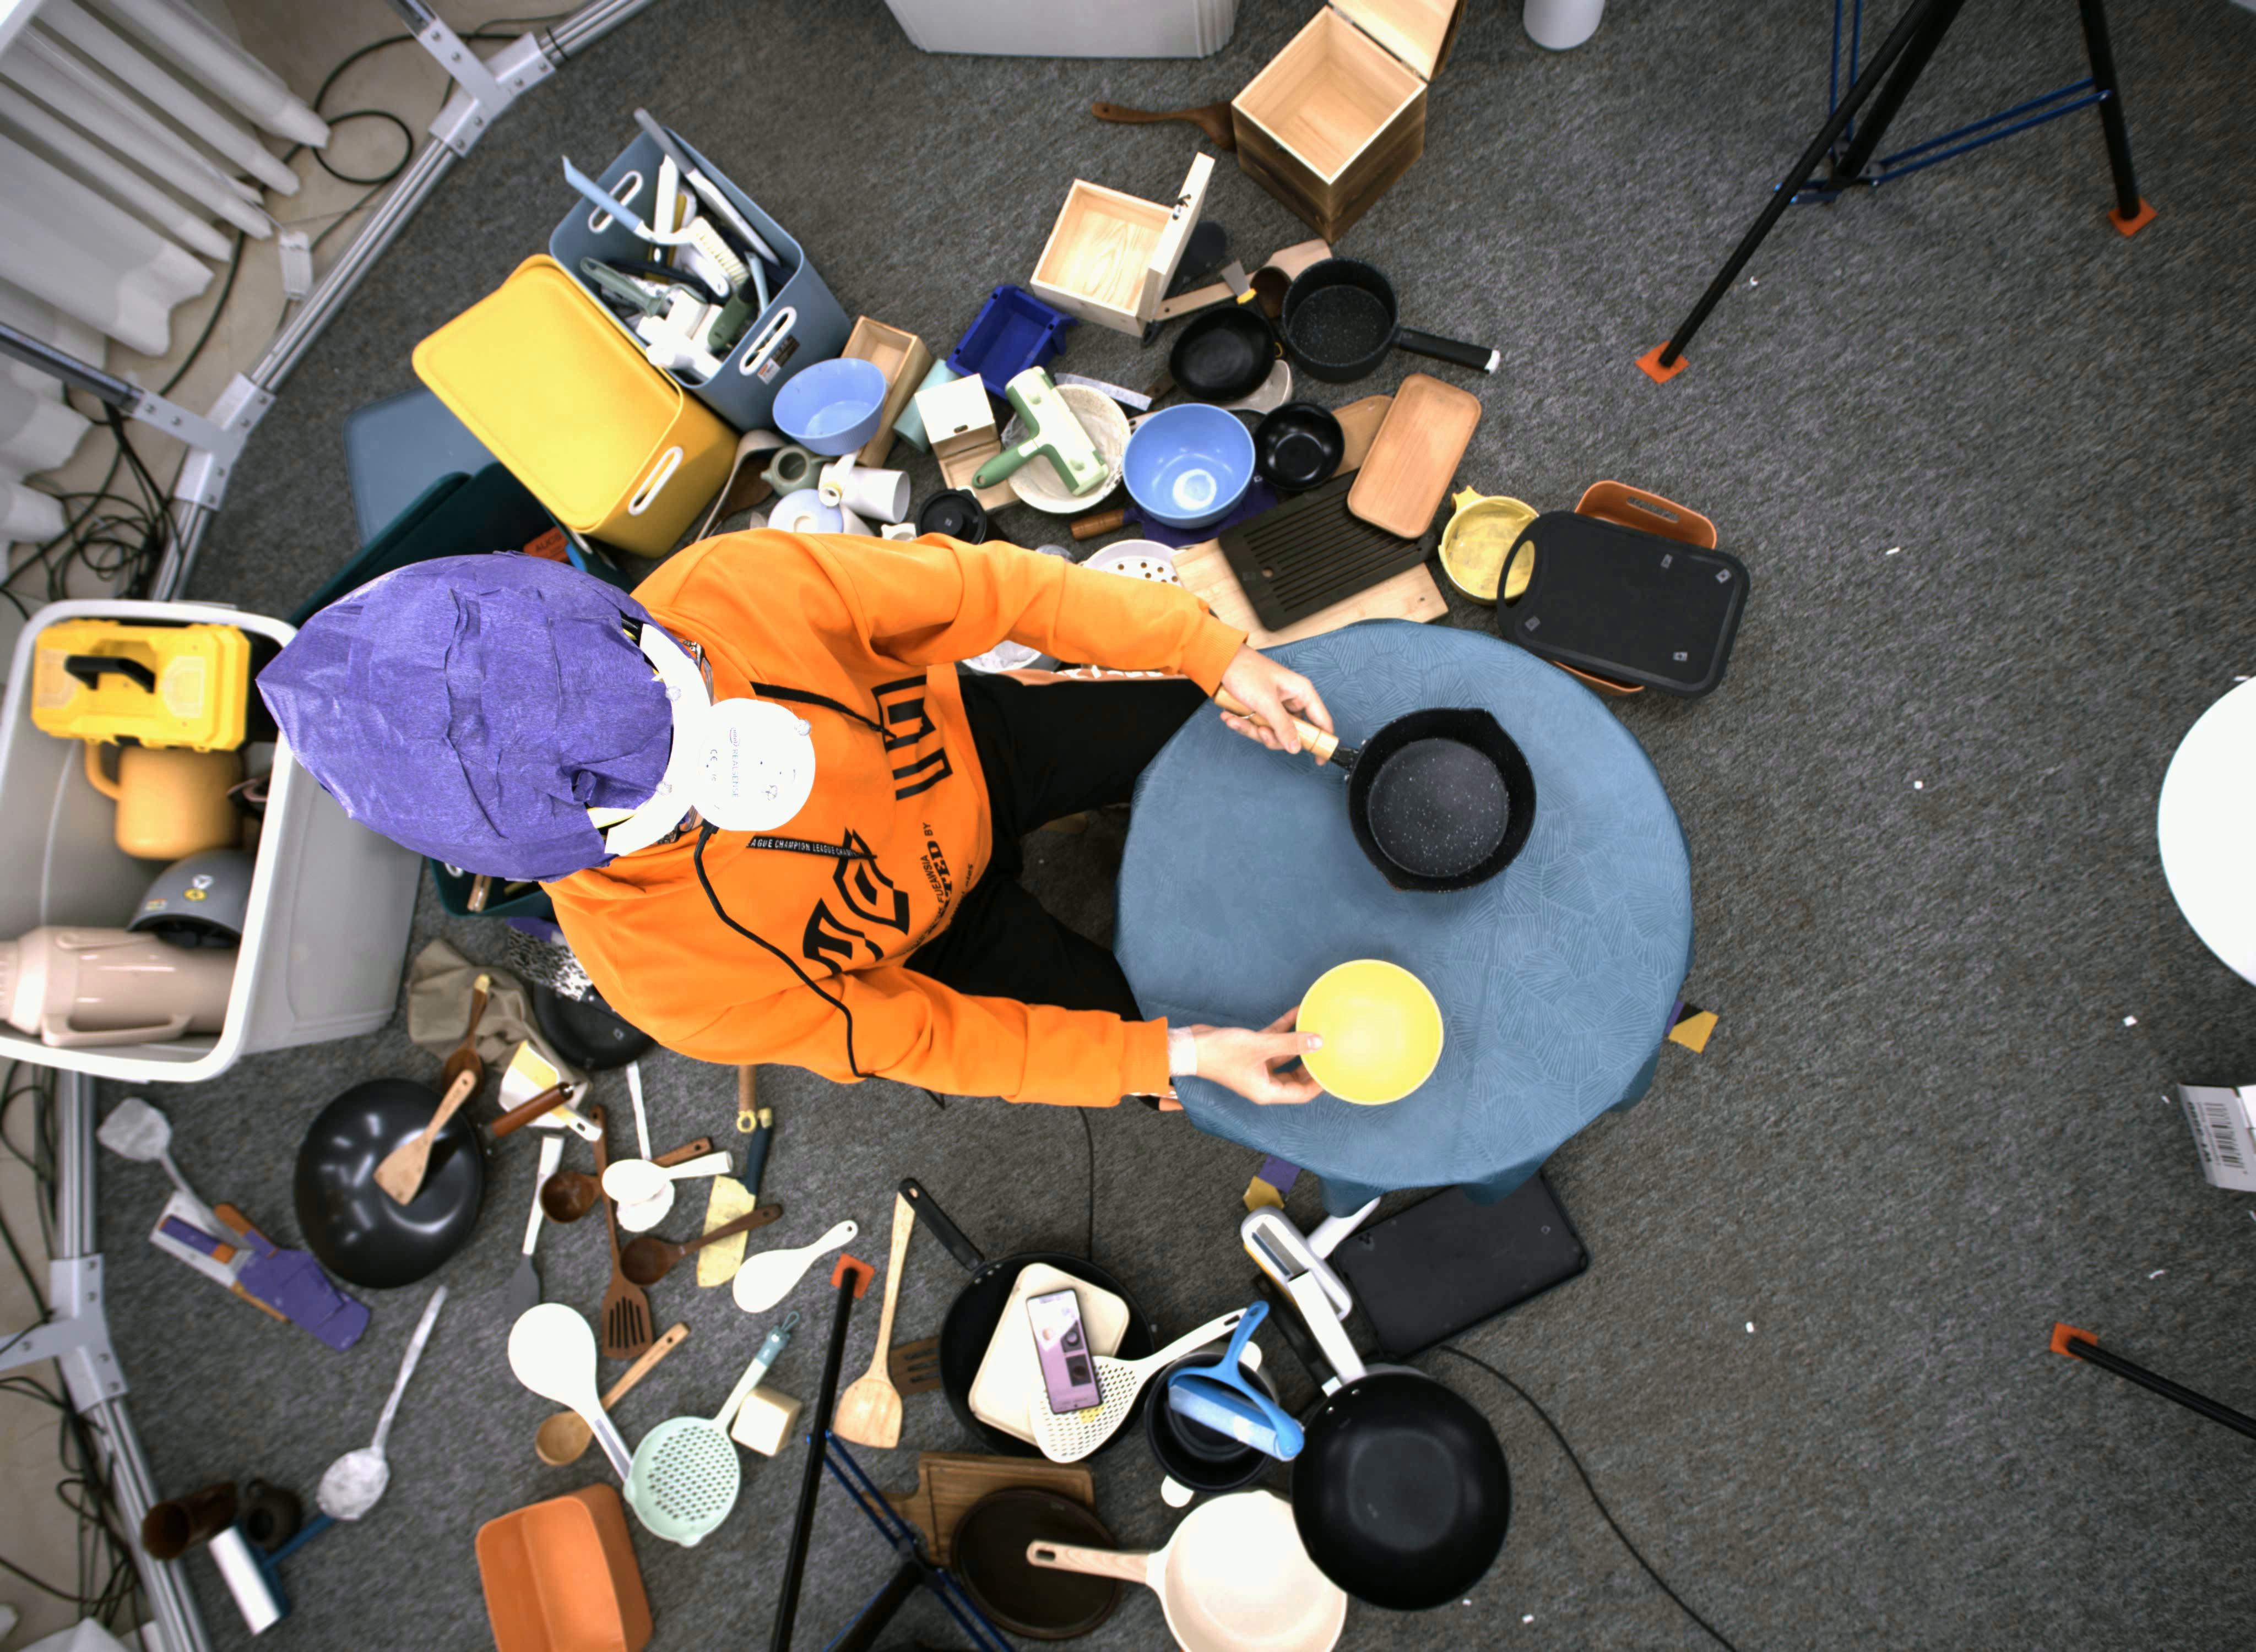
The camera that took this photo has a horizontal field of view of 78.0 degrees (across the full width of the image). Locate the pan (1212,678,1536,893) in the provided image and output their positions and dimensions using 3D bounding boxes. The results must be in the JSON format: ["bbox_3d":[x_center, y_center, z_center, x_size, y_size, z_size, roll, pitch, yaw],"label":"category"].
[{"bbox_3d":[0.242,-0.059,1.397,0.342,0.108,0.208,26,94,10],"label":"pan"}]

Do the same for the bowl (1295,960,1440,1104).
[{"bbox_3d":[0.239,0.211,1.399,0.145,0.061,0.143,-2,73,5],"label":"bowl"}]
